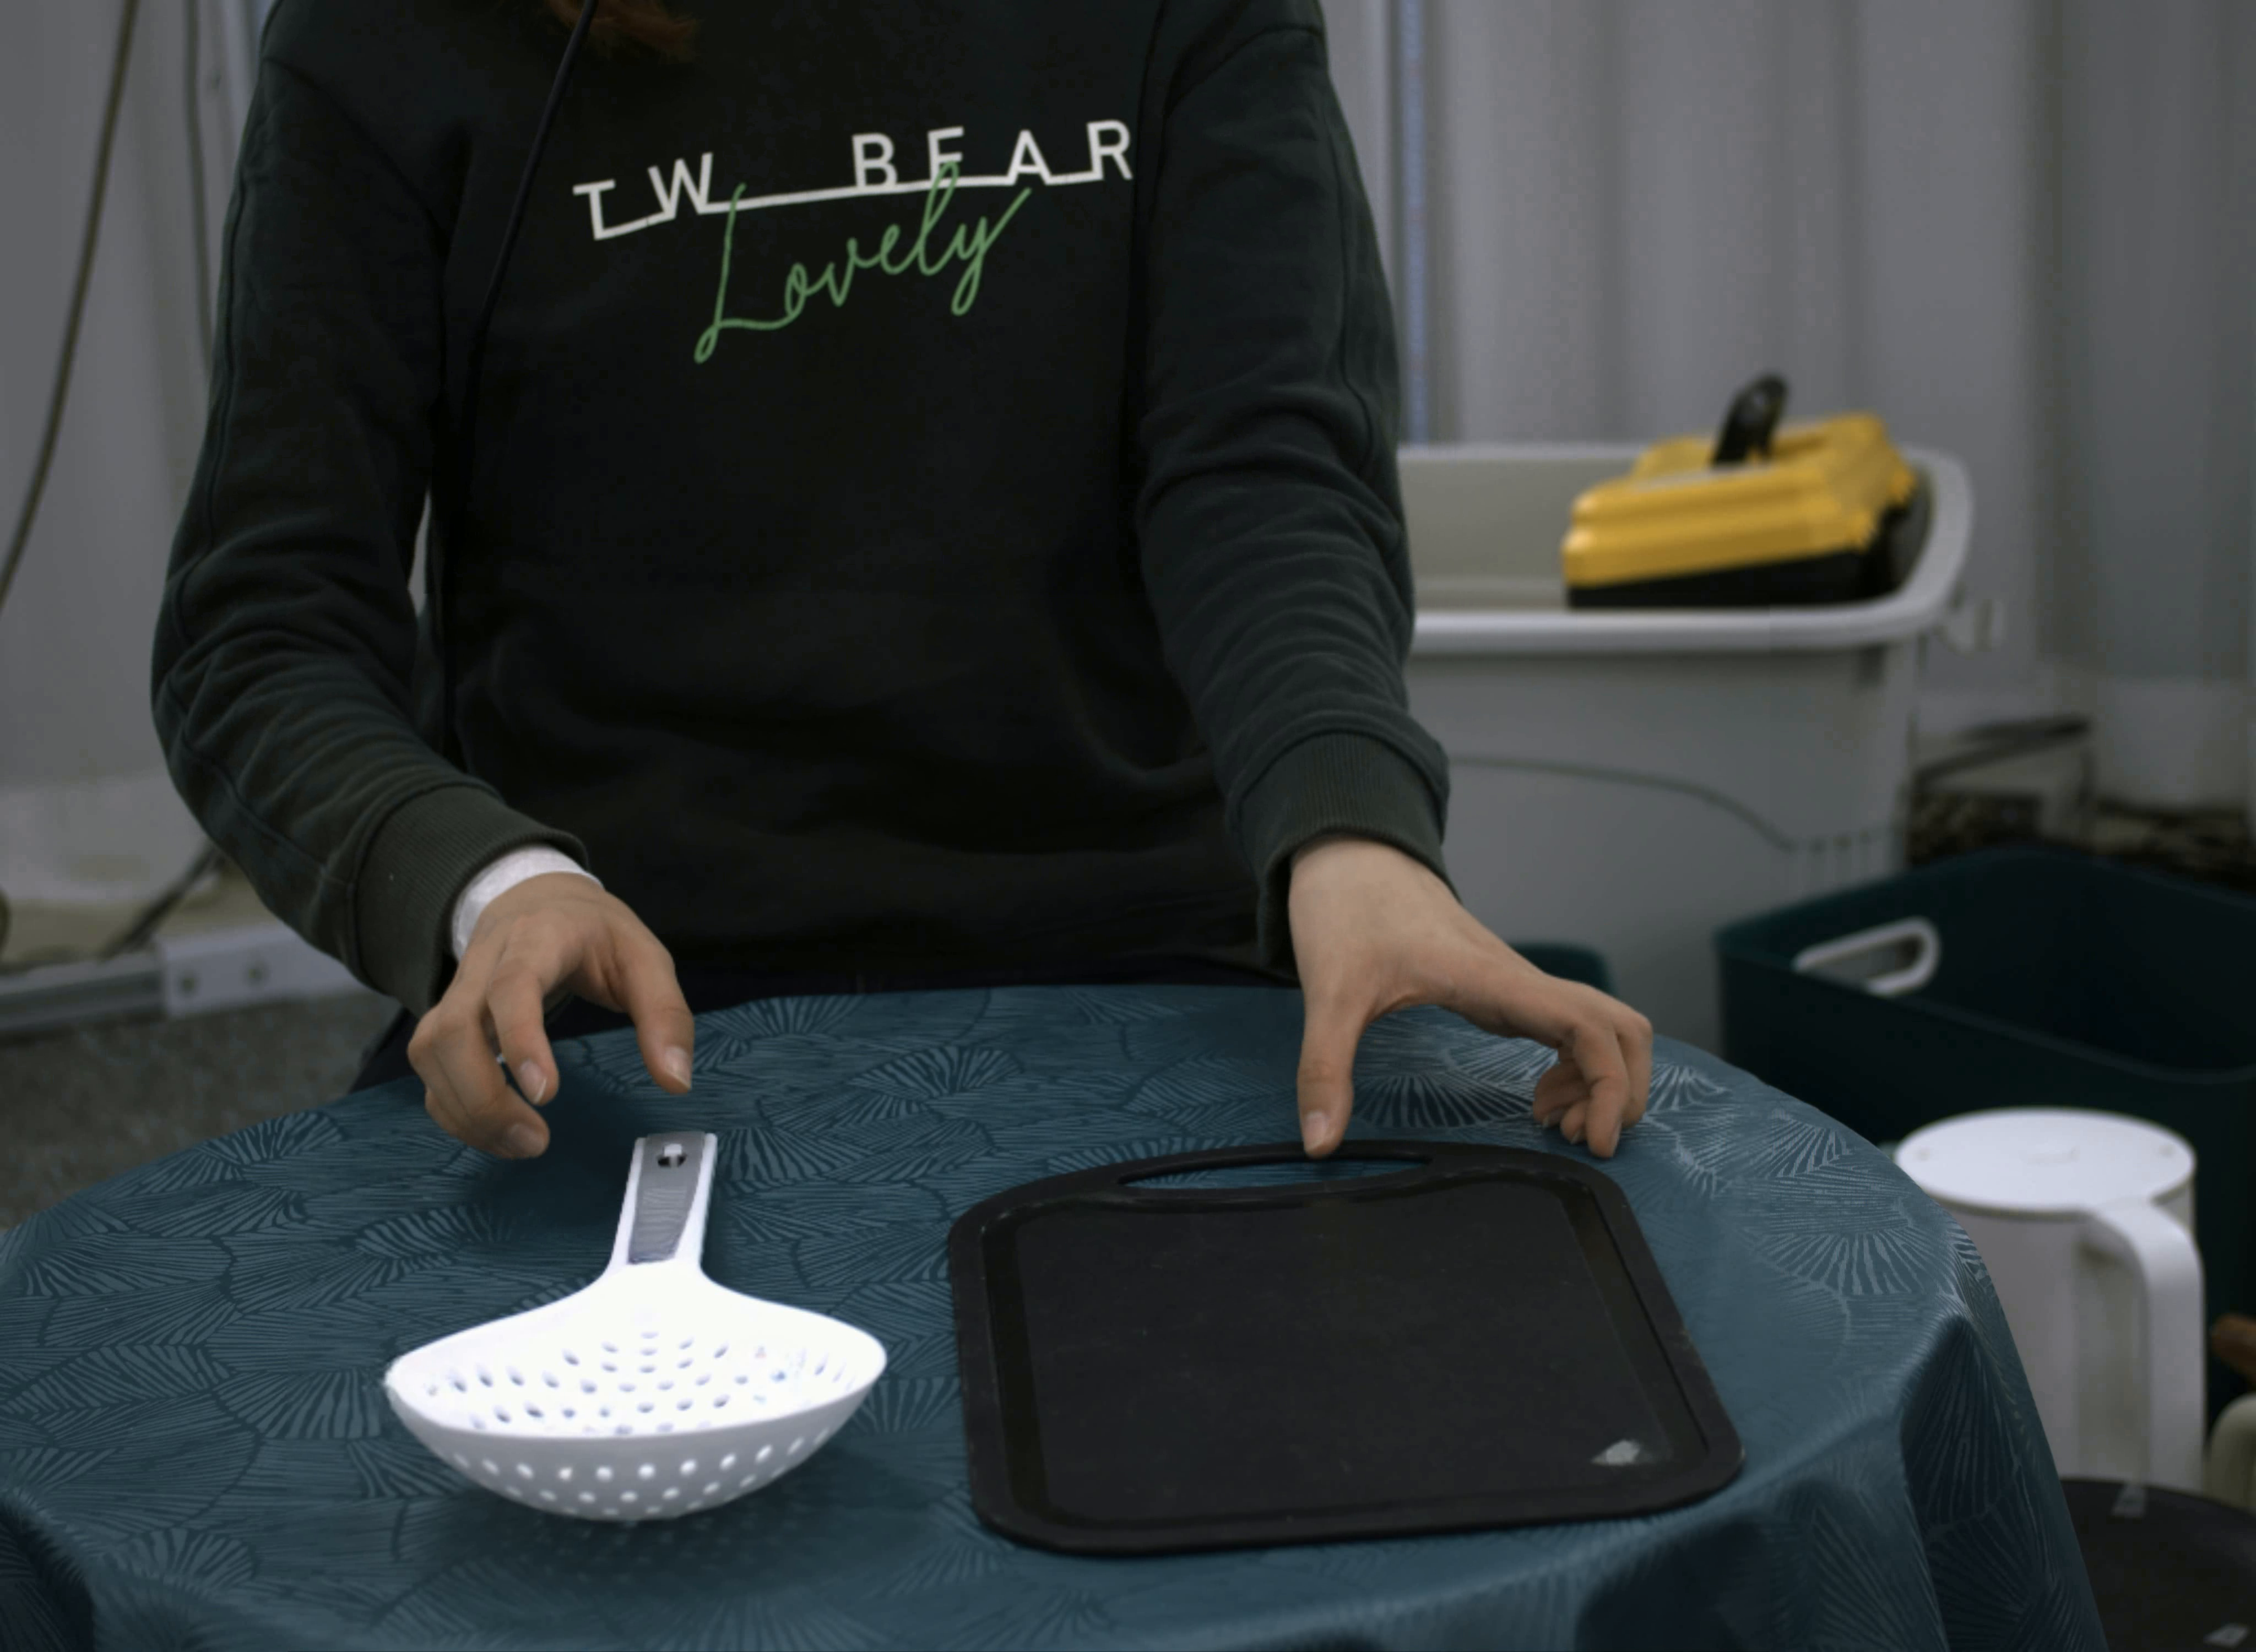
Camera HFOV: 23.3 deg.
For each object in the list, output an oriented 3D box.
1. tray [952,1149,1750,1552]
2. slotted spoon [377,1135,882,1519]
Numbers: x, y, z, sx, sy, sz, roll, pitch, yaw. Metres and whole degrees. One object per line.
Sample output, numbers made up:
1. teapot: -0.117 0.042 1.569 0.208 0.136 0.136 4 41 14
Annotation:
1. tray: 0.056 0.144 1.581 0.210 0.010 0.327 -3 15 -3
2. slotted spoon: -0.137 0.135 1.577 0.135 0.045 0.352 -1 14 -2
